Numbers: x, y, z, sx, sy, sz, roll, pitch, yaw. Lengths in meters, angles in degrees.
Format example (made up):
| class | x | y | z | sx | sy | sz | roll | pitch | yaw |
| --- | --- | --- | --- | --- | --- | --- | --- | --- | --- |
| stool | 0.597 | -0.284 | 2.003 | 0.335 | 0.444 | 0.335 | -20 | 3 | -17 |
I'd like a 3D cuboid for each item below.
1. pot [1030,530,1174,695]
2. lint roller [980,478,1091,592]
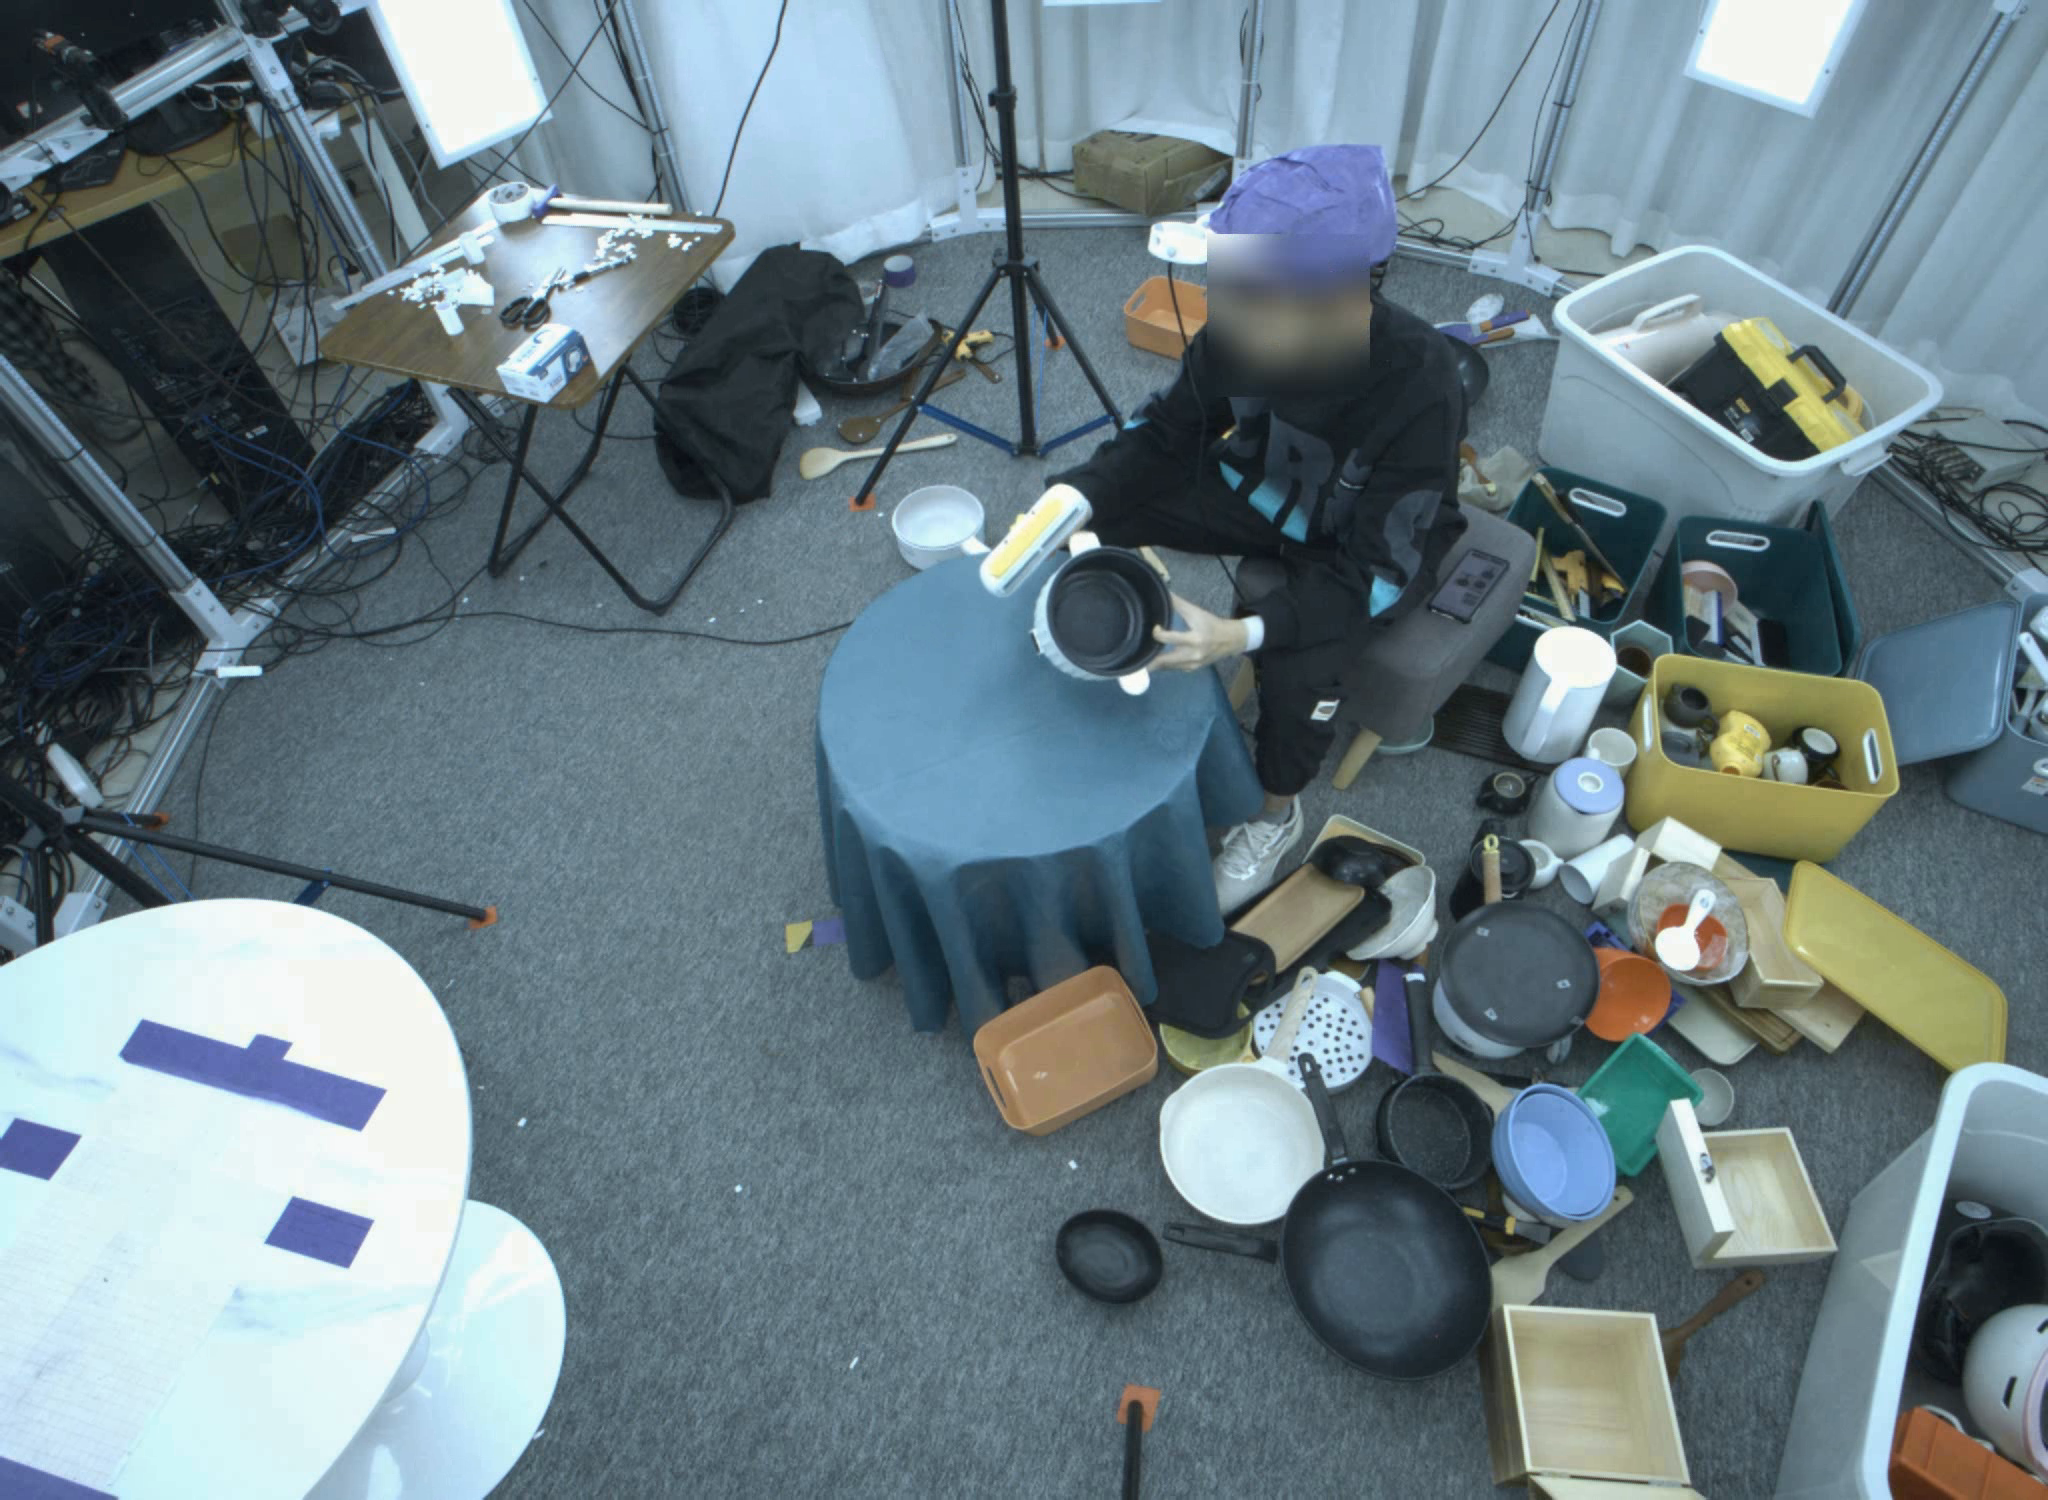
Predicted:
| class | x | y | z | sx | sy | sz | roll | pitch | yaw |
| --- | --- | --- | --- | --- | --- | --- | --- | --- | --- |
| pot | 0.110 | -0.190 | 1.745 | 0.191 | 0.141 | 0.241 | -22 | 96 | -10 |
| lint roller | 0.024 | -0.312 | 1.824 | 0.073 | 0.194 | 0.192 | 42 | 98 | 12 |
